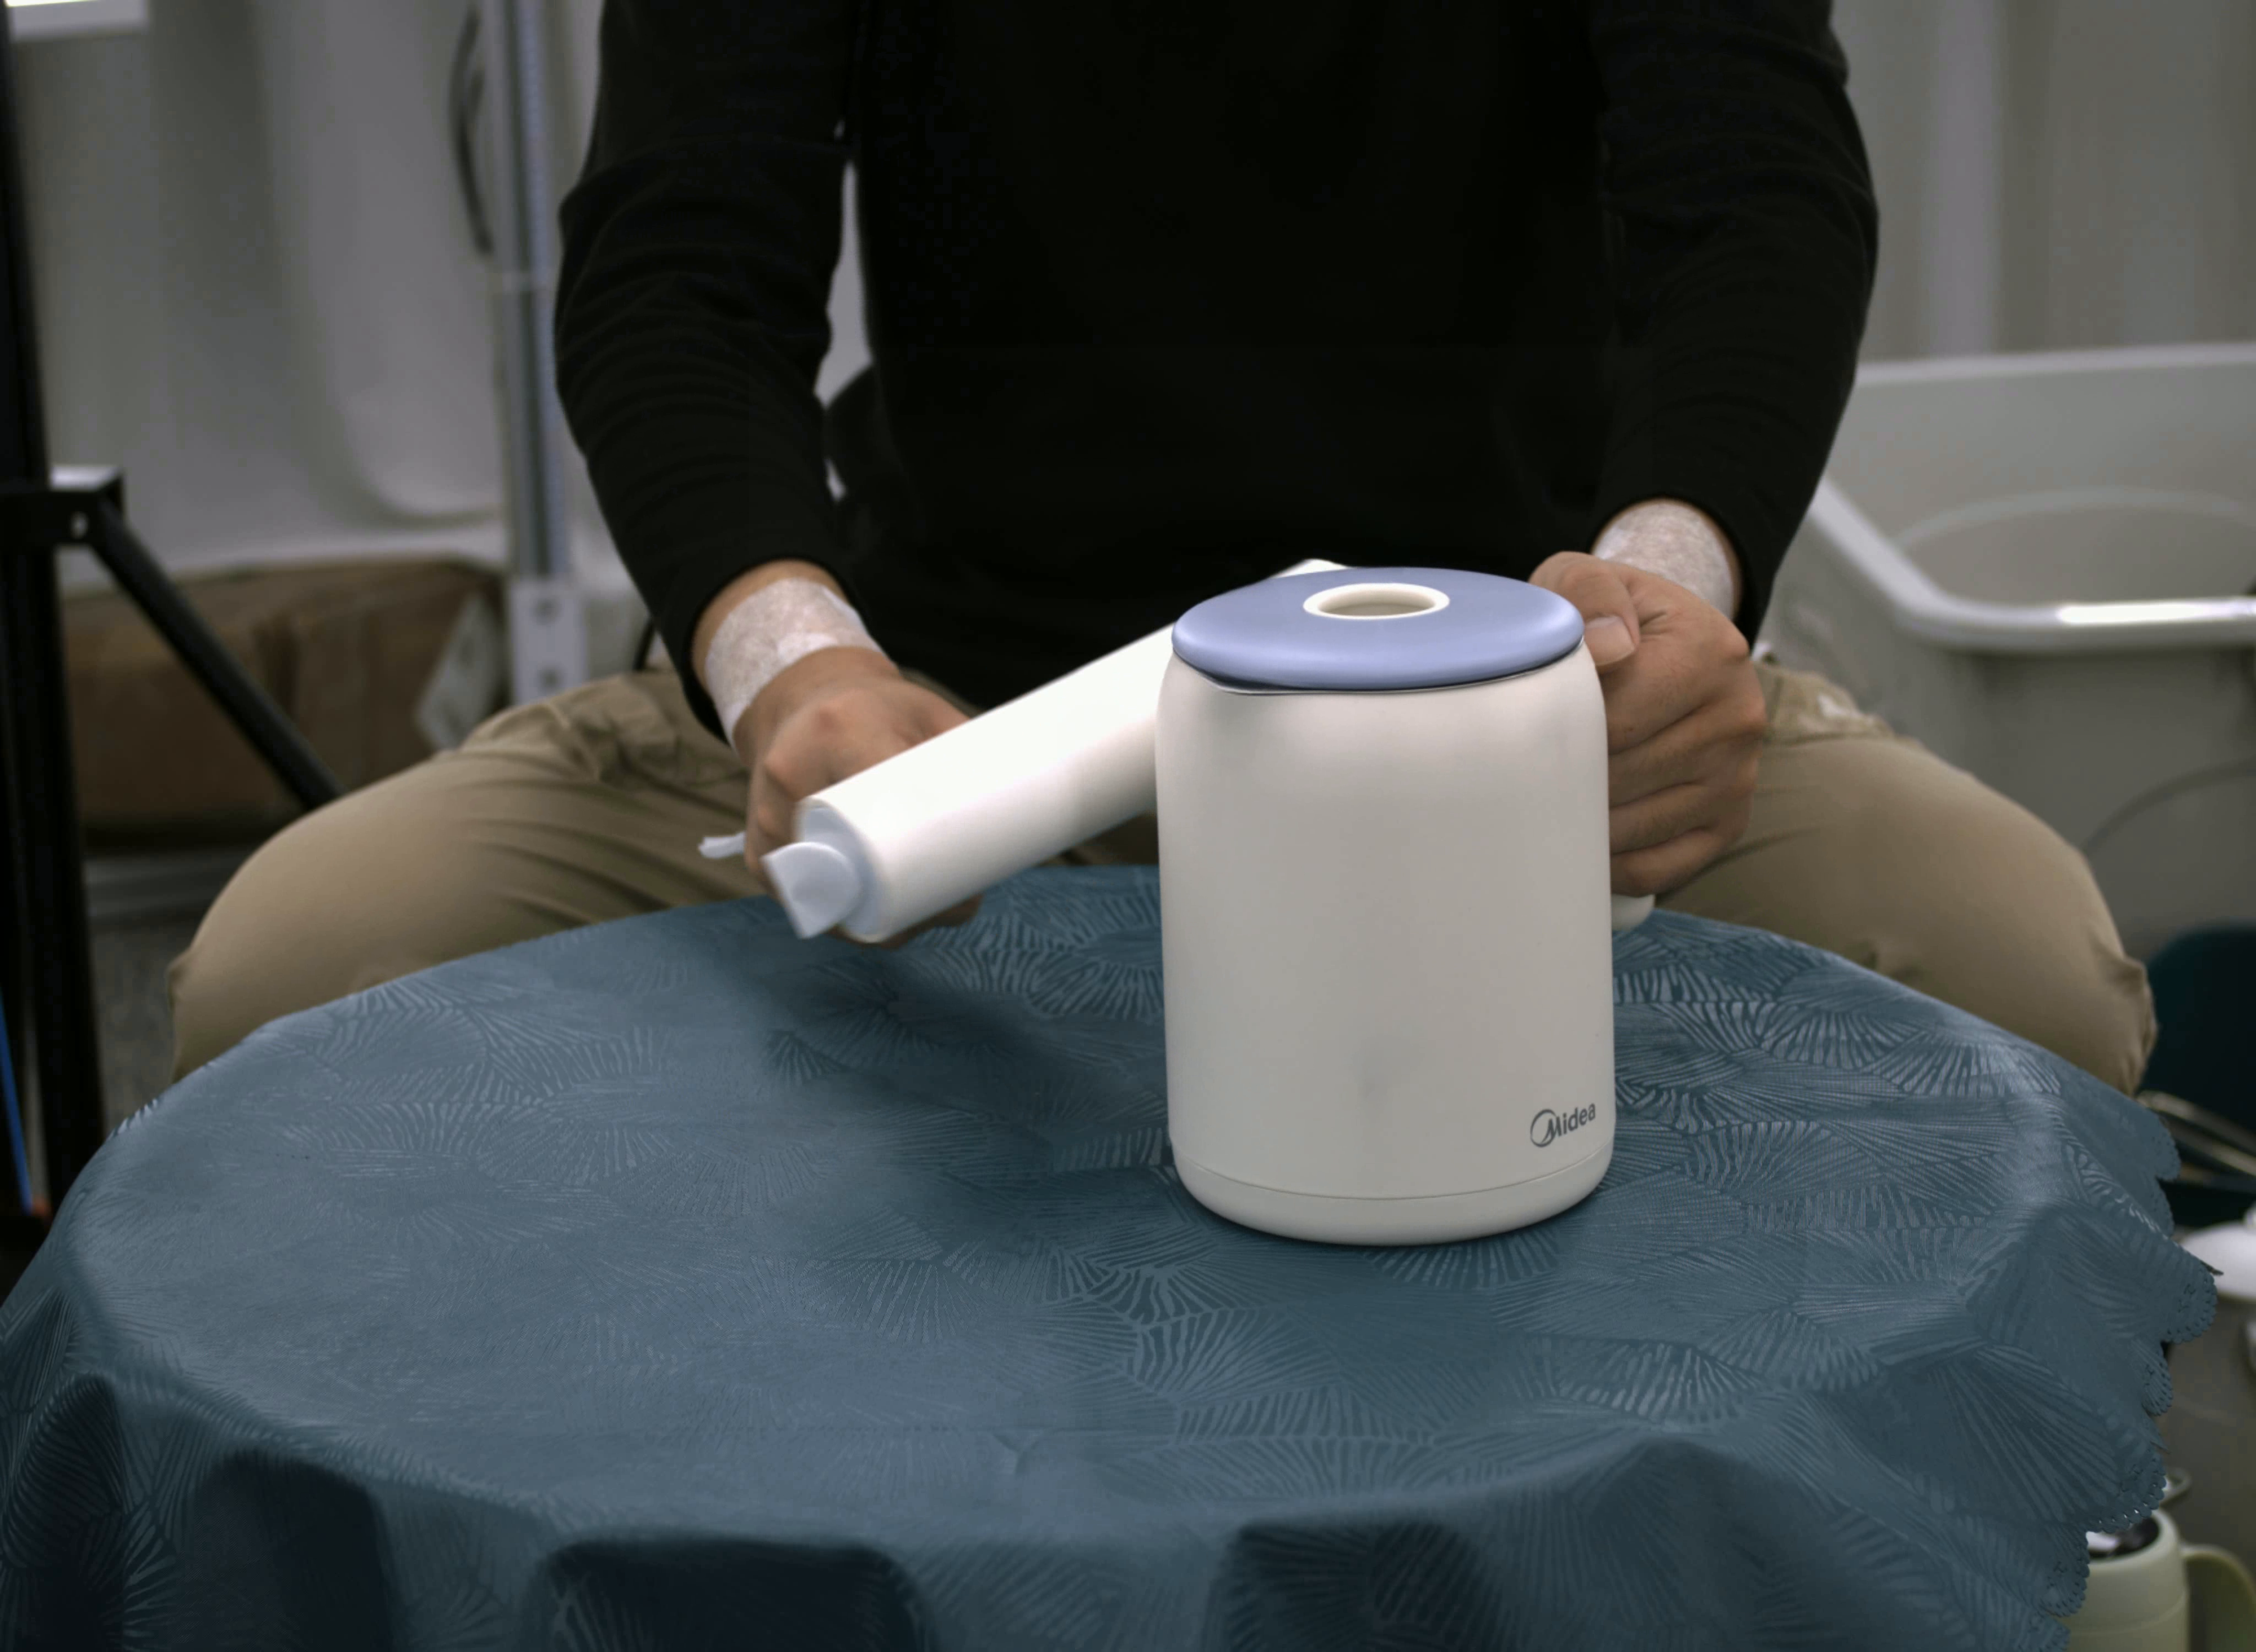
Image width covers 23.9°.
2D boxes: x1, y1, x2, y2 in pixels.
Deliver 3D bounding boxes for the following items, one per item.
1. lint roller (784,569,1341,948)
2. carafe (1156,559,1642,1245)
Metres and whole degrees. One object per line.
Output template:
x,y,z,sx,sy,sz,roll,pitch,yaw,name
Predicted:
-0.048,-0.010,1.677,0.199,0.048,0.229,-27,5,-29,lint roller
0.091,0.016,1.551,0.135,0.182,0.186,12,19,42,carafe
